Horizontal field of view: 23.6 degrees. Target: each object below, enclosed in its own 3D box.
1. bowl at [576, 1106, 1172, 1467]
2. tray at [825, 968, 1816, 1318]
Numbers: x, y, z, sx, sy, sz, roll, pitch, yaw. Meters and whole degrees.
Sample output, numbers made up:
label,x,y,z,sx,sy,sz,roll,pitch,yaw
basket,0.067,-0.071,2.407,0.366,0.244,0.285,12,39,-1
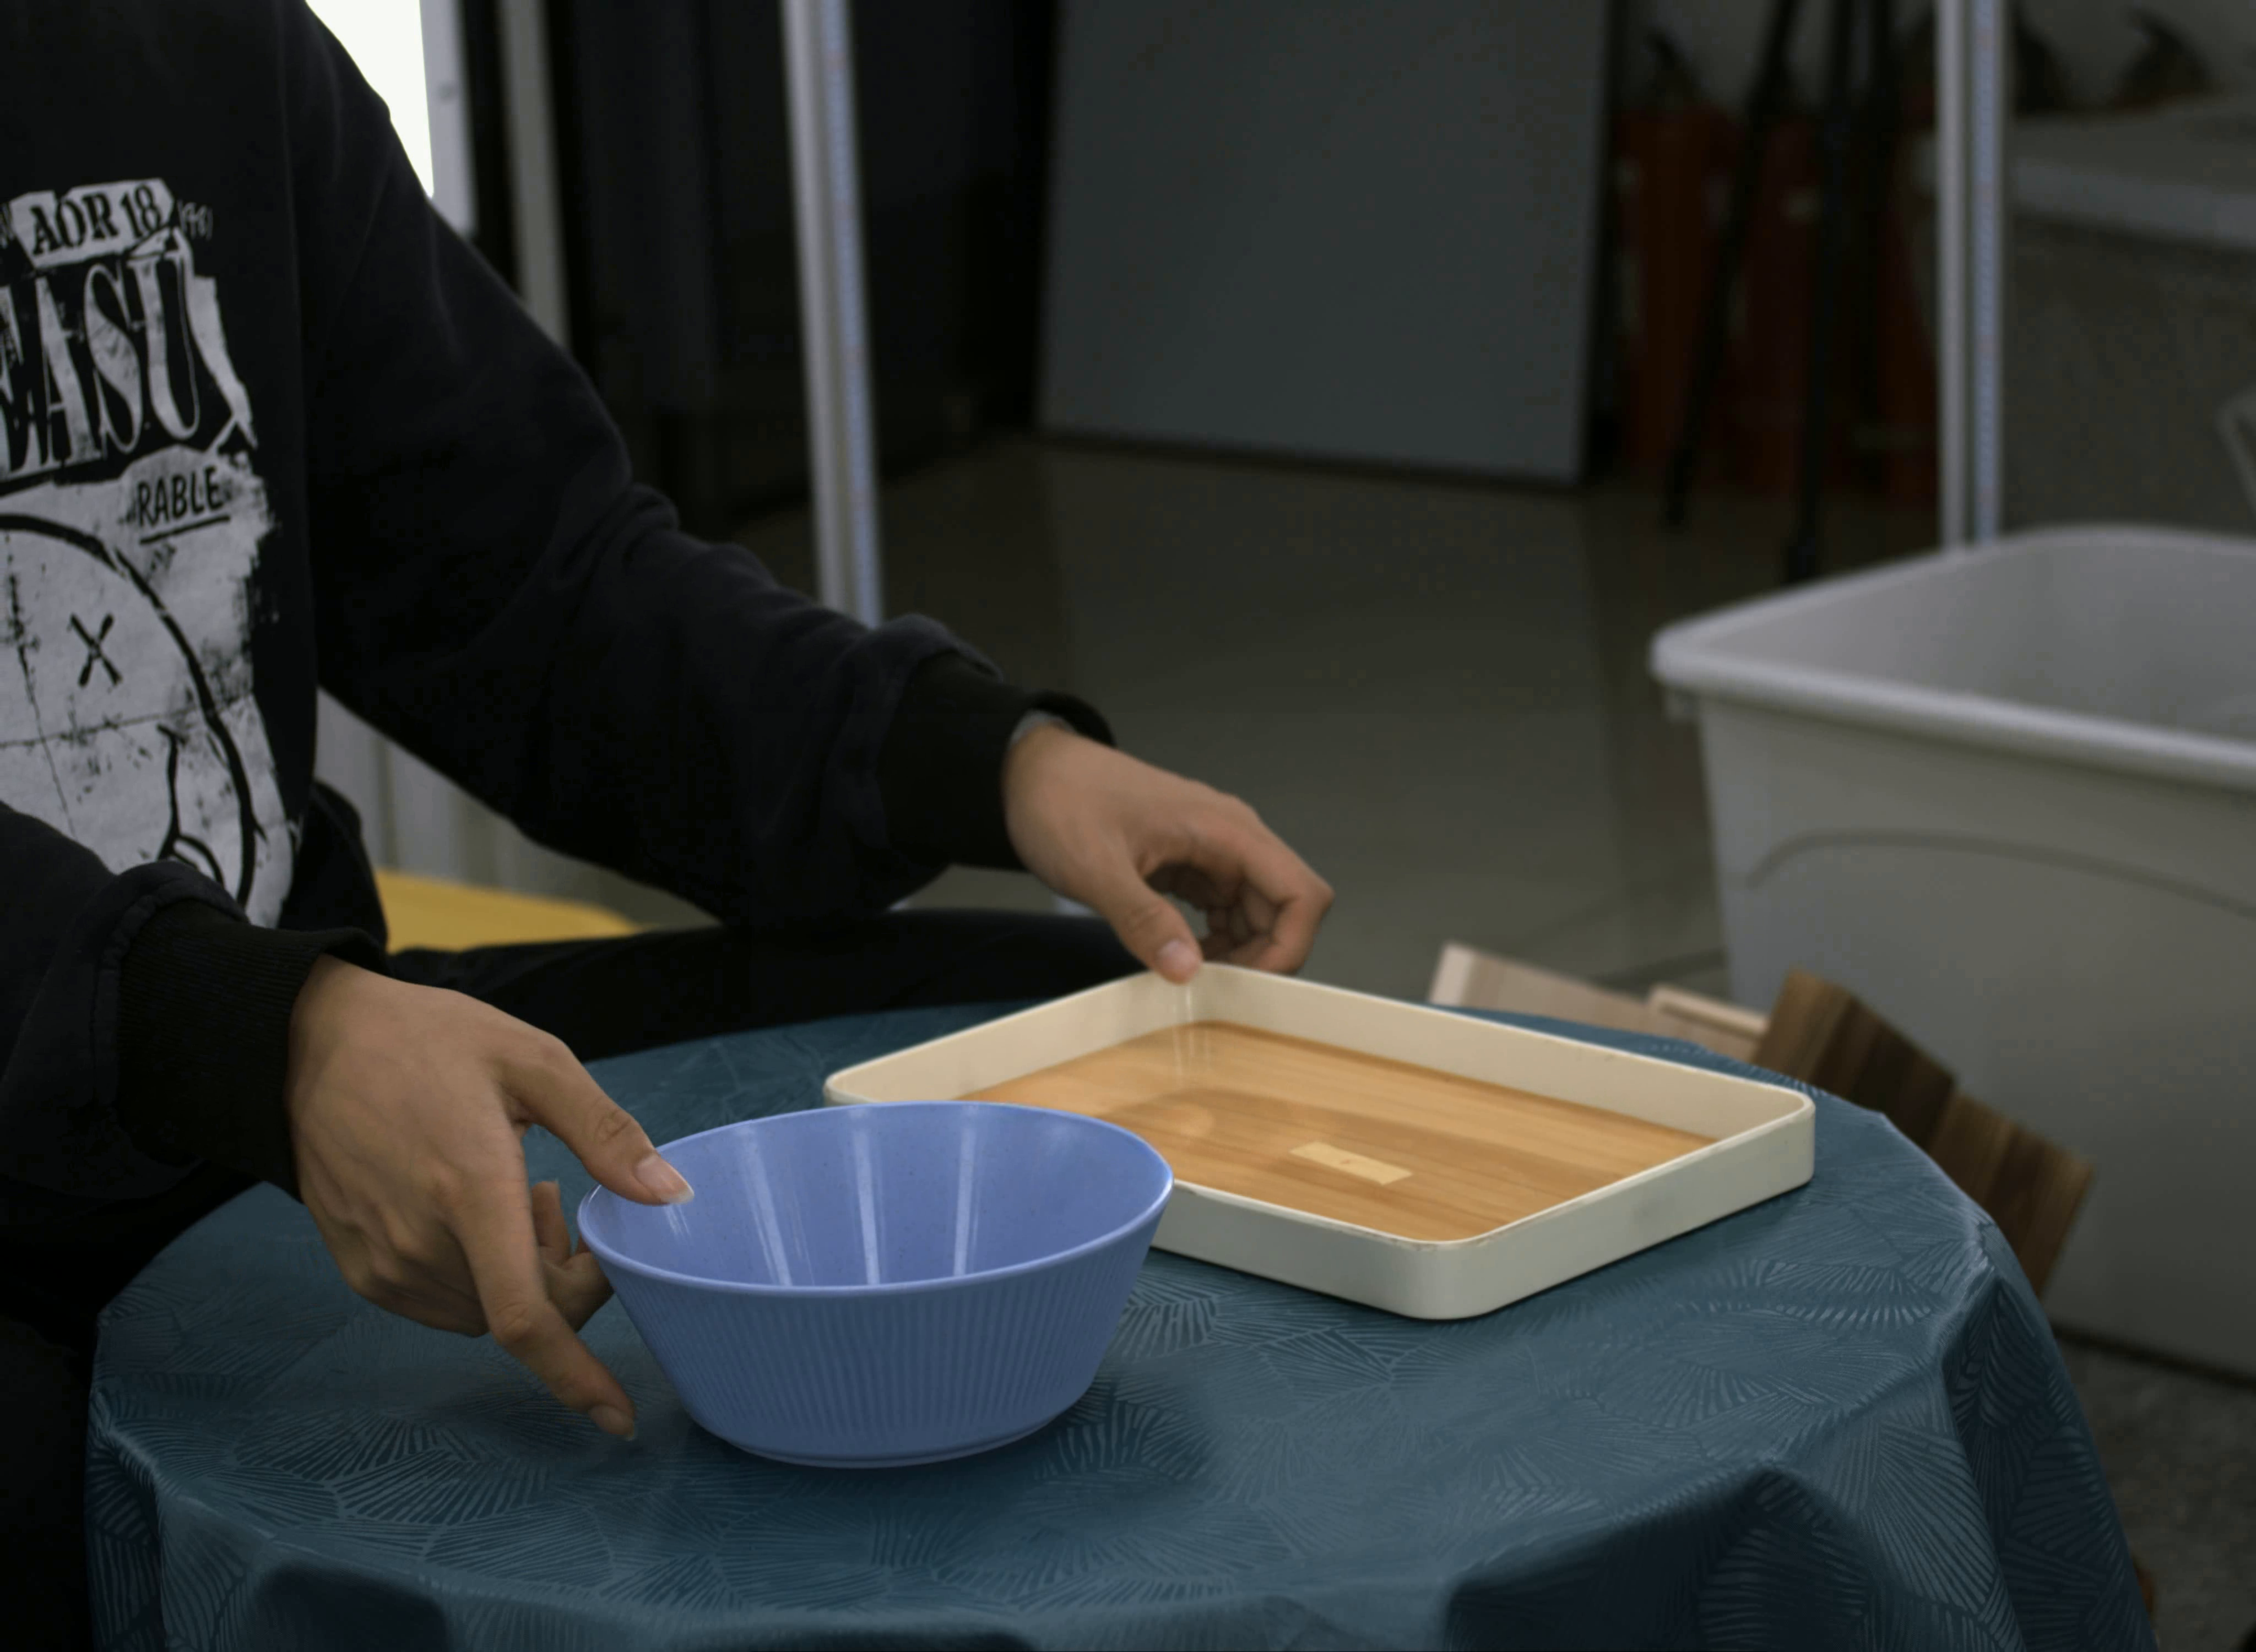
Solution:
label,x,y,z,sx,sy,sz,roll,pitch,yaw
bowl,-0.073,0.137,1.579,0.174,0.071,0.176,-3,13,0
tray,0.060,0.101,1.781,0.187,0.028,0.303,-16,18,-41
